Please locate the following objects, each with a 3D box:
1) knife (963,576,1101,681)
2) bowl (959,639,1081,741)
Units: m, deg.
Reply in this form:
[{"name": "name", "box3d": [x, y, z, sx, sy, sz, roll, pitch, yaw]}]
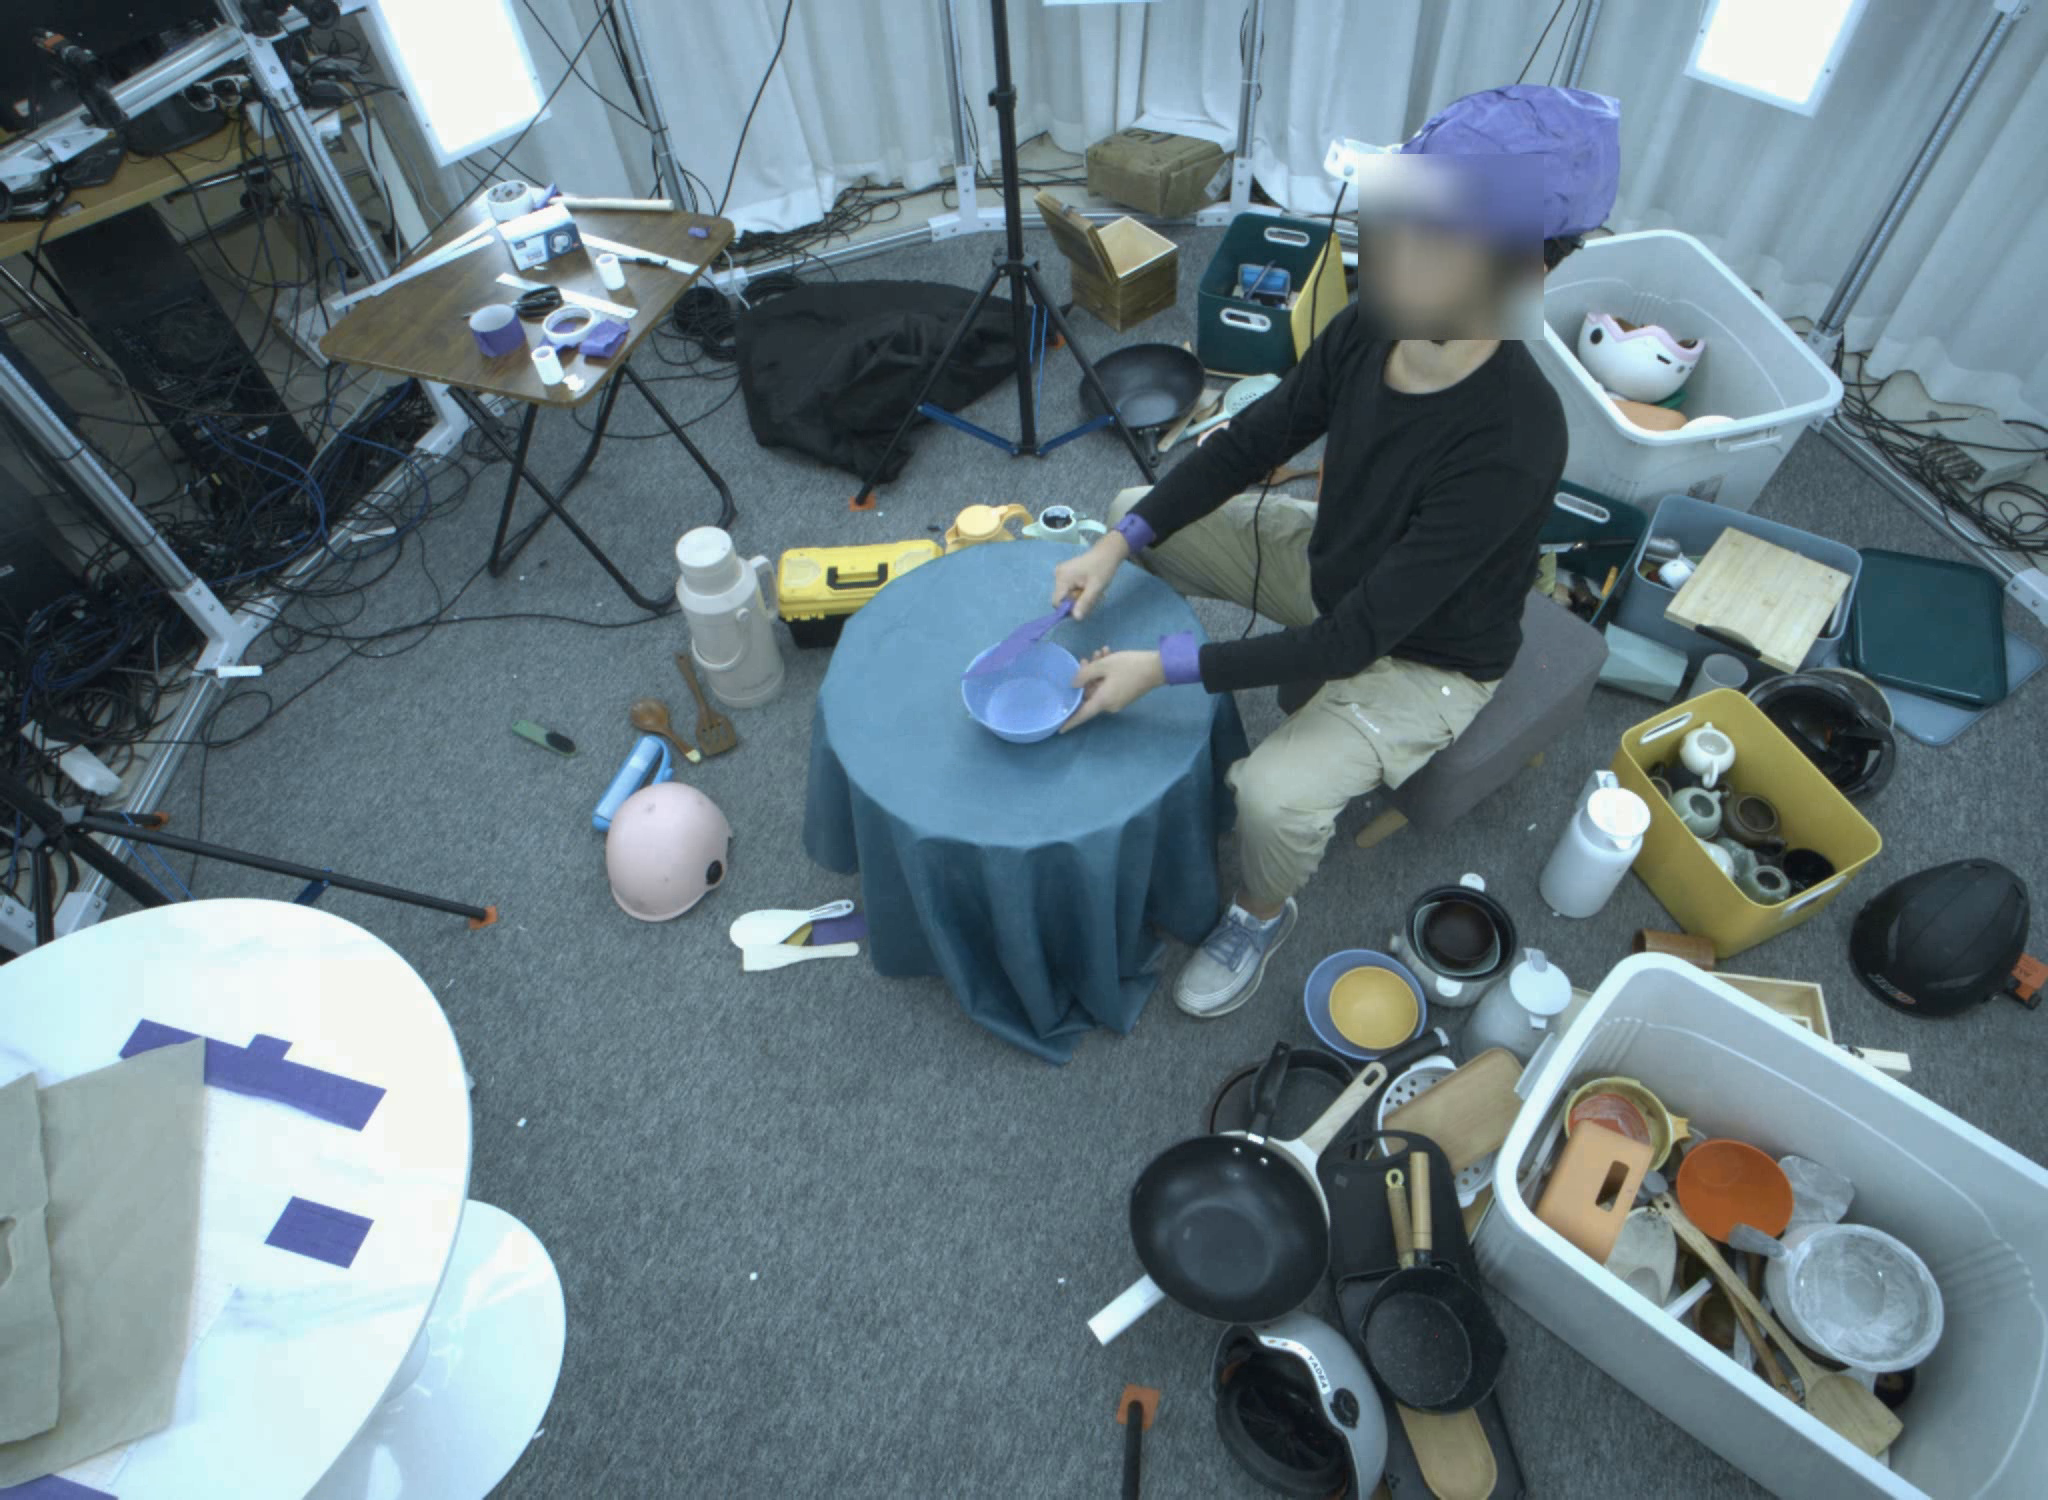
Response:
[{"name": "knife", "box3d": [0.011, -0.181, 1.794, 0.102, 0.032, 0.317, -13, 19, 35]}, {"name": "bowl", "box3d": [-0.005, -0.078, 1.796, 0.176, 0.071, 0.174, 1, 55, 0]}]
